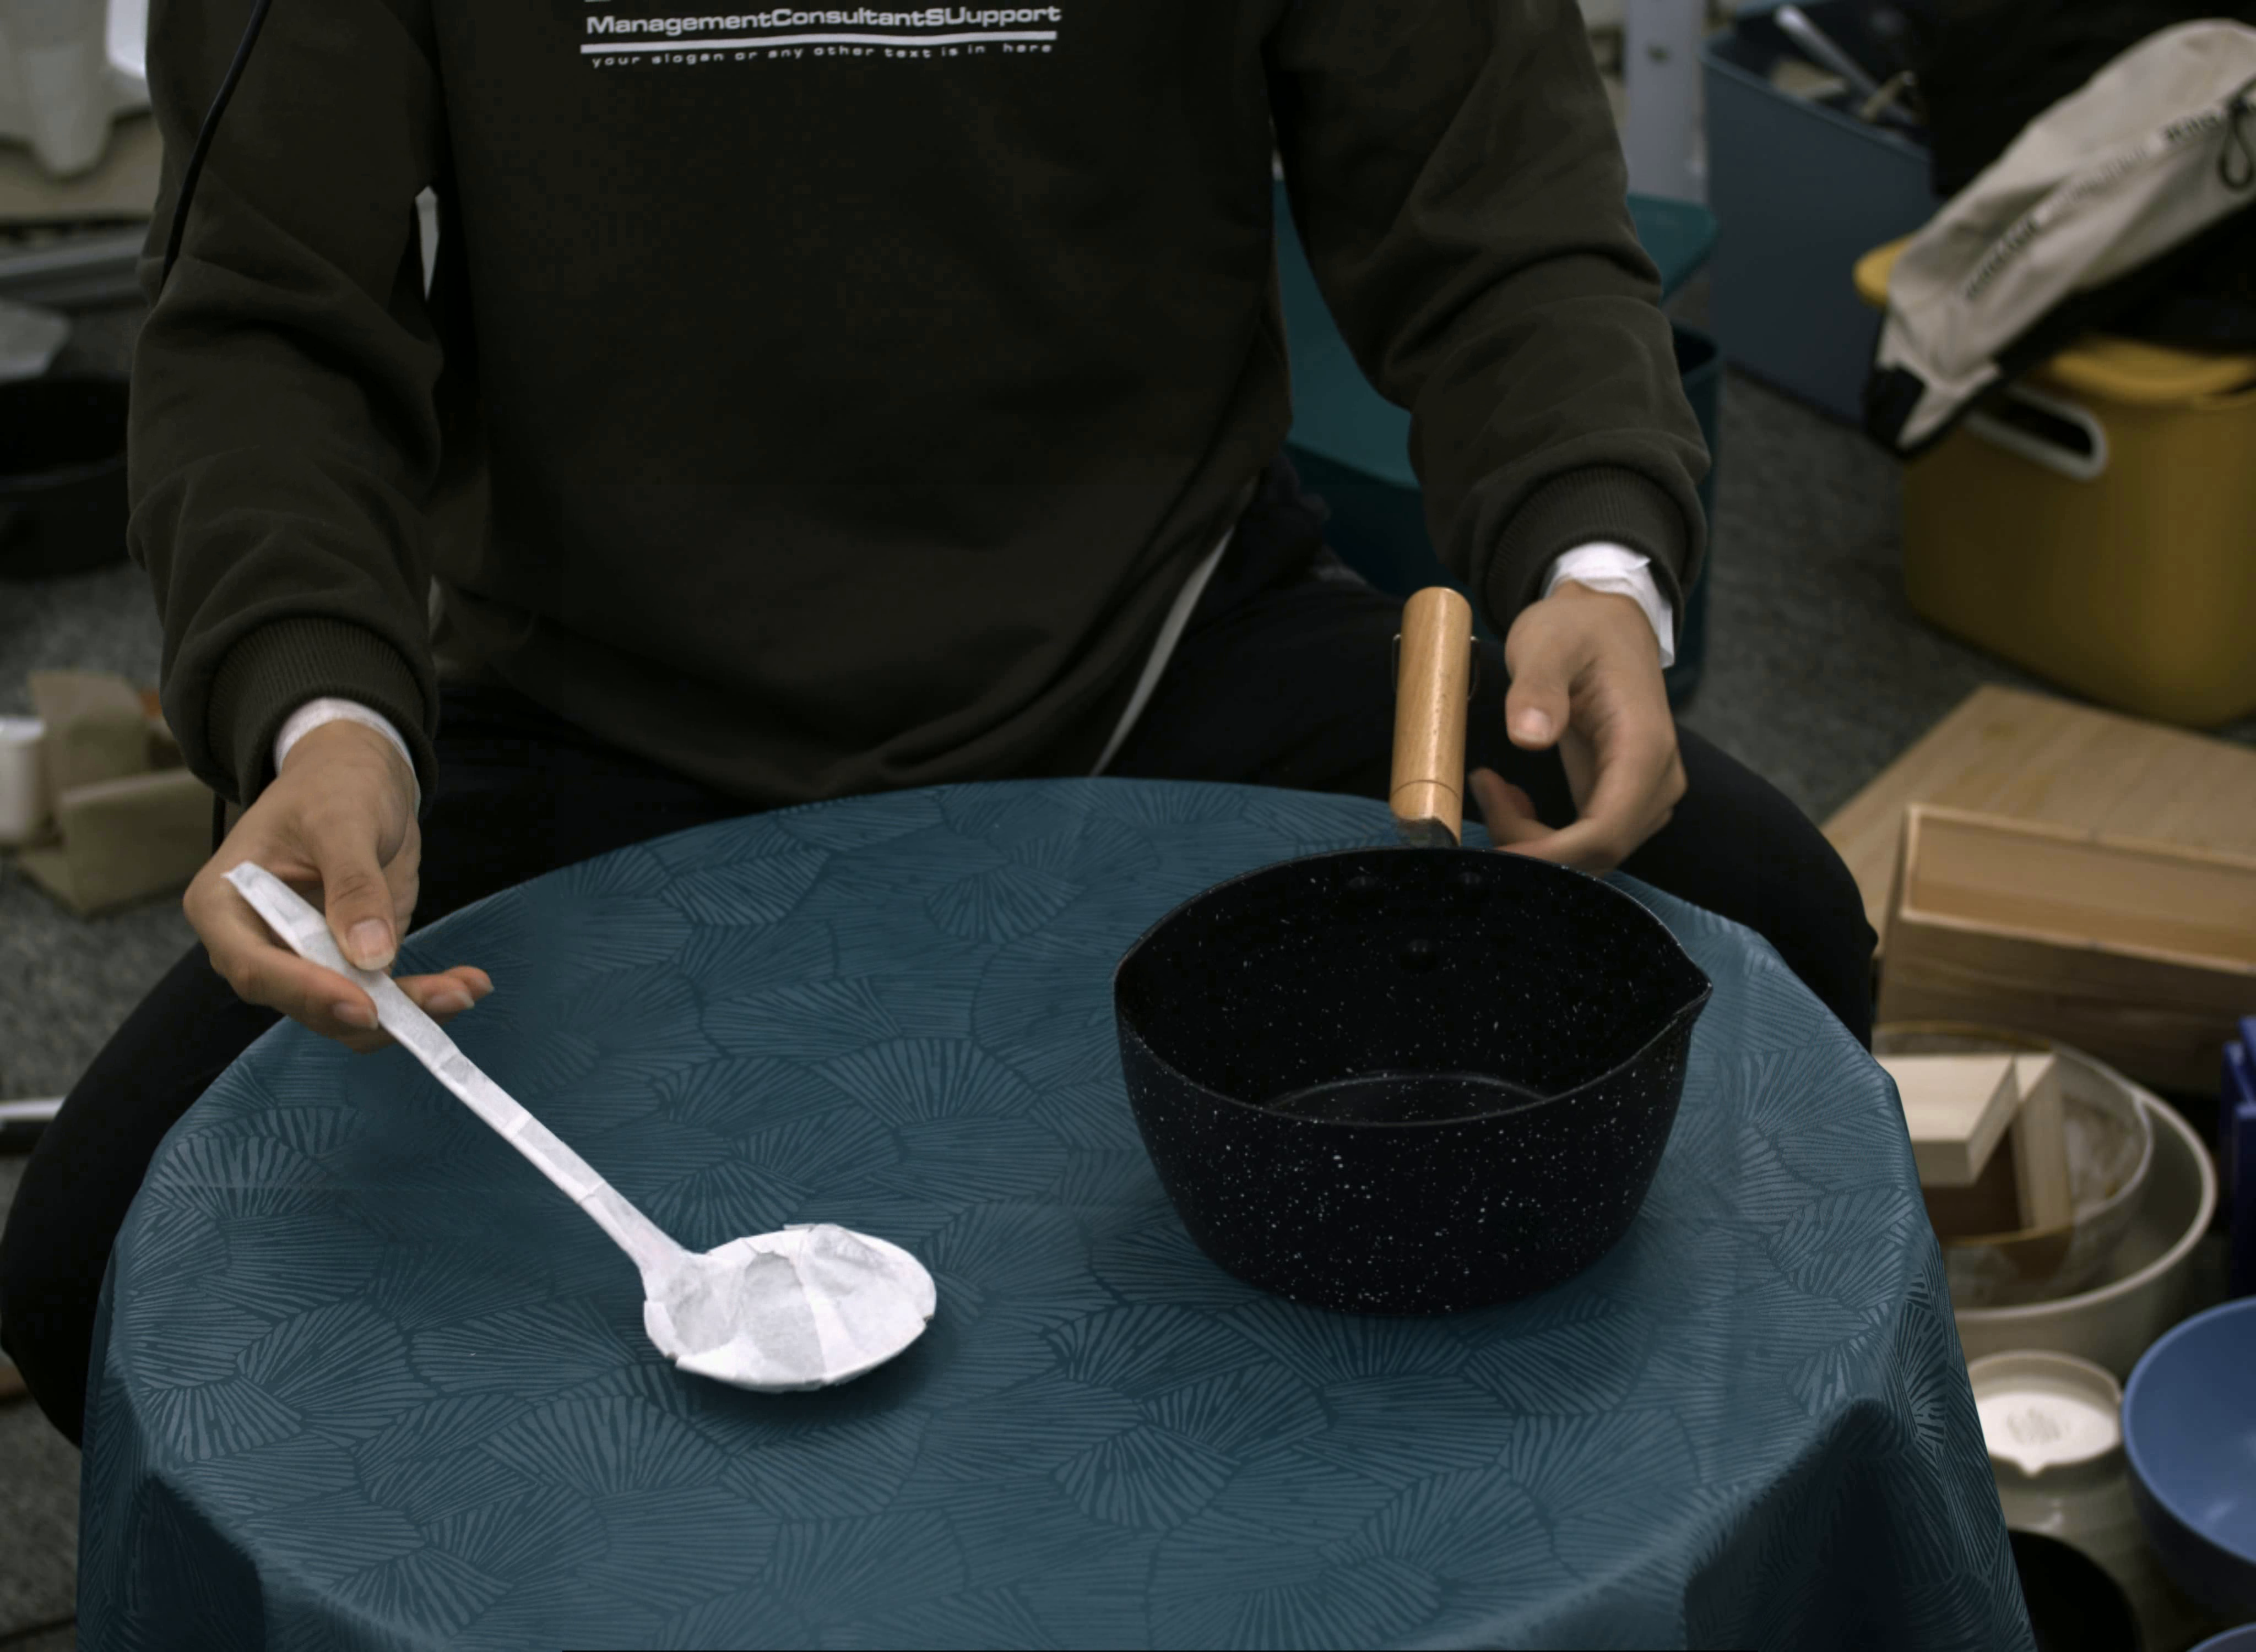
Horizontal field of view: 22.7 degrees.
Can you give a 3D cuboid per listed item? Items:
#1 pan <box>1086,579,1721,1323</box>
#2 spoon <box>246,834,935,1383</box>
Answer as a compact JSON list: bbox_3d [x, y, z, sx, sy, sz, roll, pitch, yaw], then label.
[{"bbox_3d":[0.096,0.039,1.898,0.206,0.107,0.348,-1,28,6],"label":"pan"},{"bbox_3d":[-0.176,0.082,1.801,0.278,0.058,0.102,44,36,13],"label":"spoon"}]
